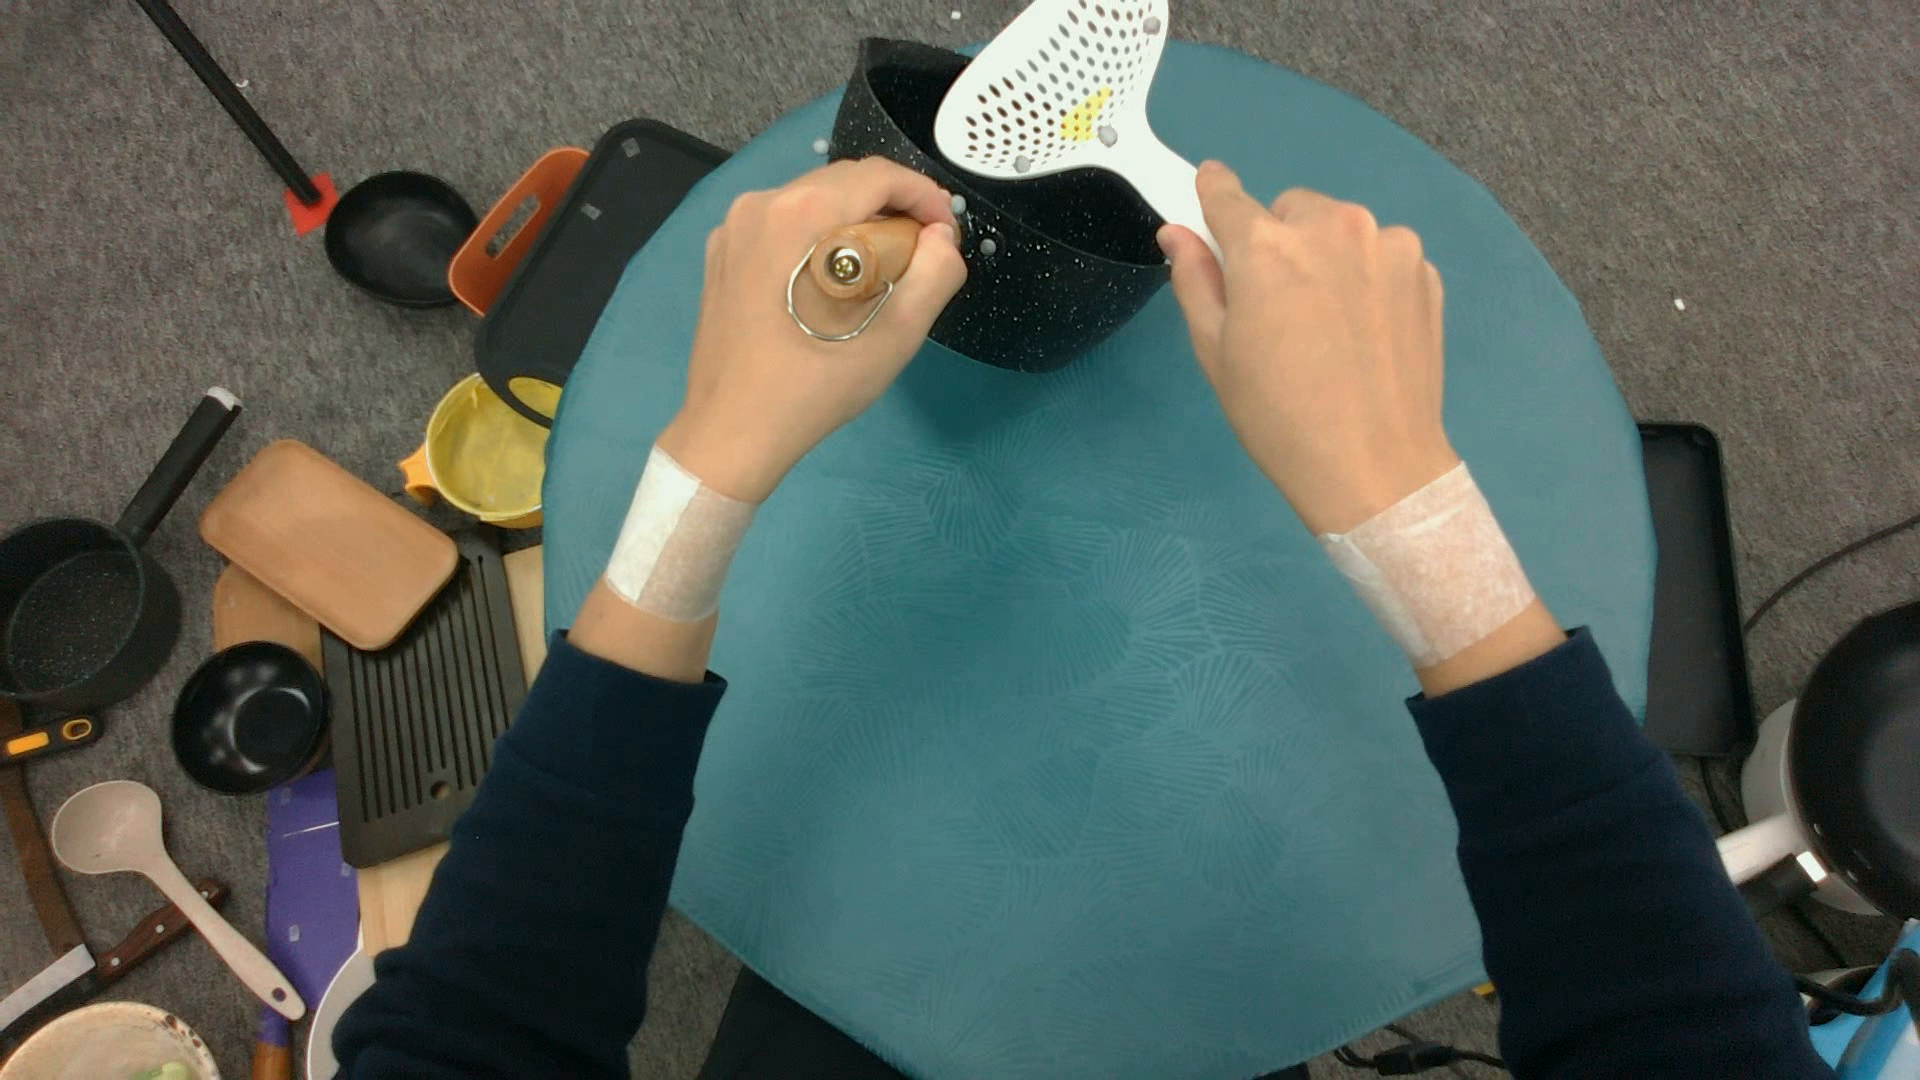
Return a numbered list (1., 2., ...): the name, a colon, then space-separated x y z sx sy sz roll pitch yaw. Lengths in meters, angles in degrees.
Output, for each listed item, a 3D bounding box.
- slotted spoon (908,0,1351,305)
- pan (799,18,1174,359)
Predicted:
1. slotted spoon: 0.068 -0.181 0.611 0.136 0.050 0.349 -41 33 10
2. pan: -0.012 -0.145 0.636 0.207 0.107 0.344 34 32 -1
